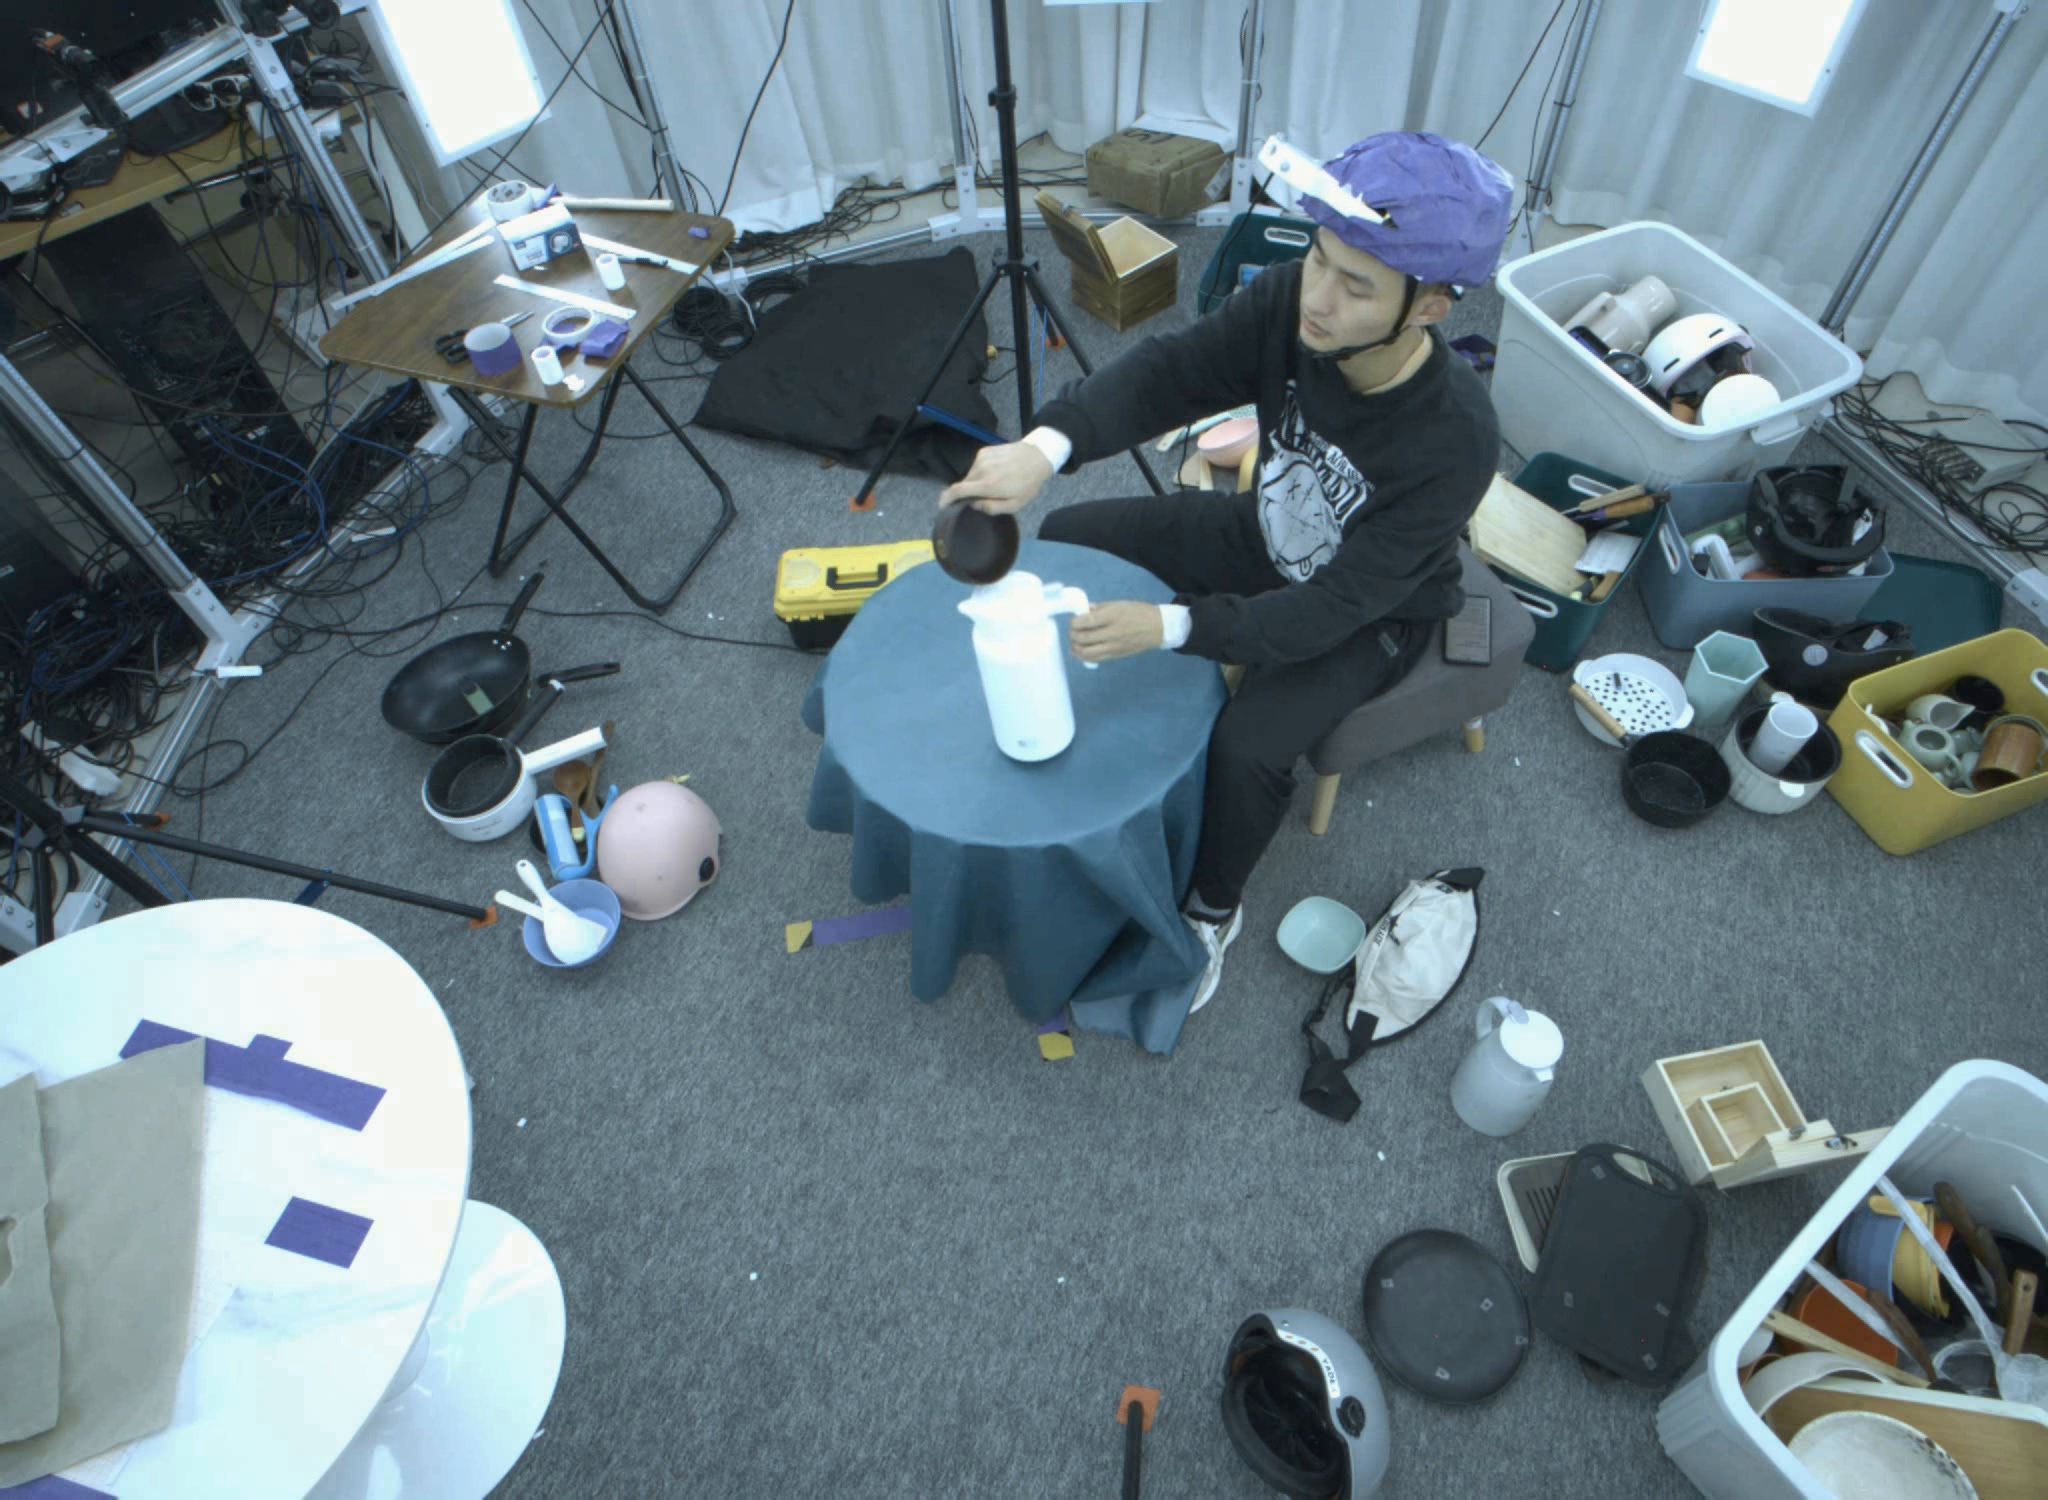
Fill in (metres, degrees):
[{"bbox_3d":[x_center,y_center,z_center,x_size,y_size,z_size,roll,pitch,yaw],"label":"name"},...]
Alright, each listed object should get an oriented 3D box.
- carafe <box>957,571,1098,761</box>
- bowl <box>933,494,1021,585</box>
[{"bbox_3d":[0.015,-0.117,1.693,0.173,0.273,0.122,-10,44,1],"label":"carafe"},{"bbox_3d":[-0.070,-0.274,1.585,0.068,0.120,0.118,13,51,47],"label":"bowl"}]
